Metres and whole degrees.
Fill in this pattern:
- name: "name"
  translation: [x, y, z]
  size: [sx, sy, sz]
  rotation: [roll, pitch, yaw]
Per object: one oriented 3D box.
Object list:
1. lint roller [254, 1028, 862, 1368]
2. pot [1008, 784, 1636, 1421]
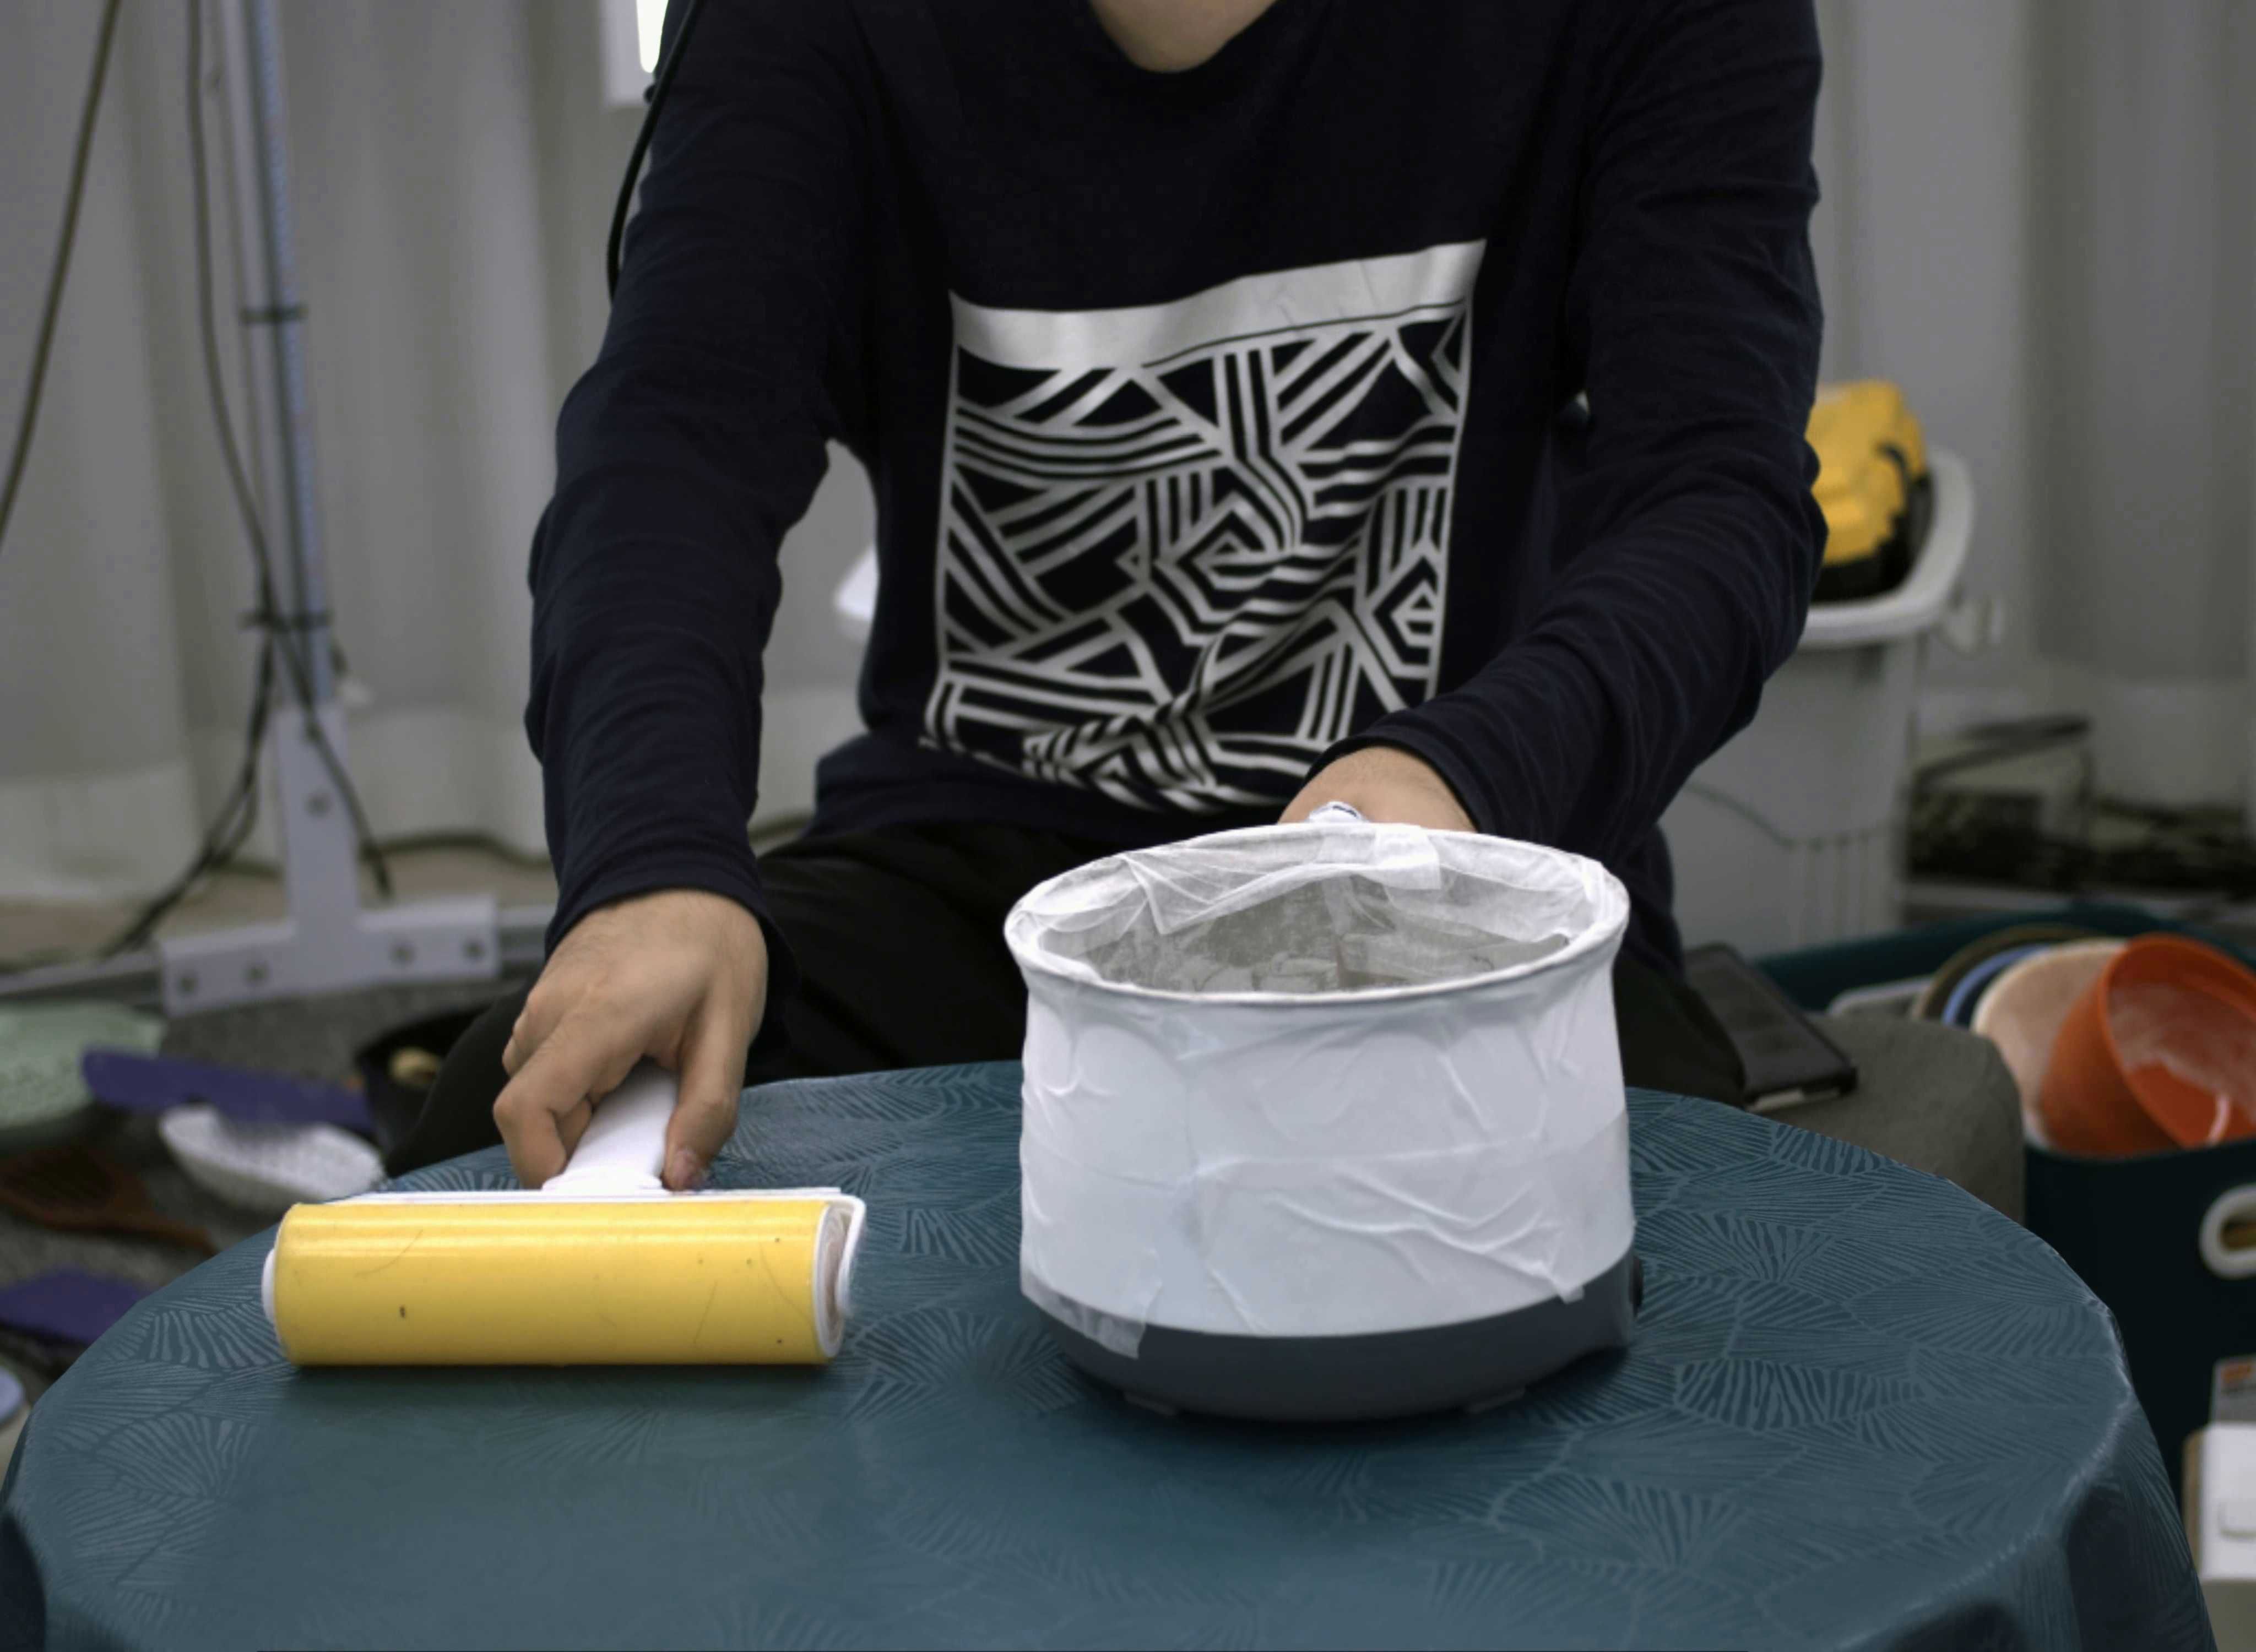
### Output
- name: "lint roller"
  translation: [-0.159, 0.098, 1.646]
  size: [0.174, 0.051, 0.194]
  rotation: [-2, 30, 7]
- name: "pot"
  translation: [0.057, 0.074, 1.582]
  size: [0.178, 0.136, 0.235]
  rotation: [0, 16, 4]
